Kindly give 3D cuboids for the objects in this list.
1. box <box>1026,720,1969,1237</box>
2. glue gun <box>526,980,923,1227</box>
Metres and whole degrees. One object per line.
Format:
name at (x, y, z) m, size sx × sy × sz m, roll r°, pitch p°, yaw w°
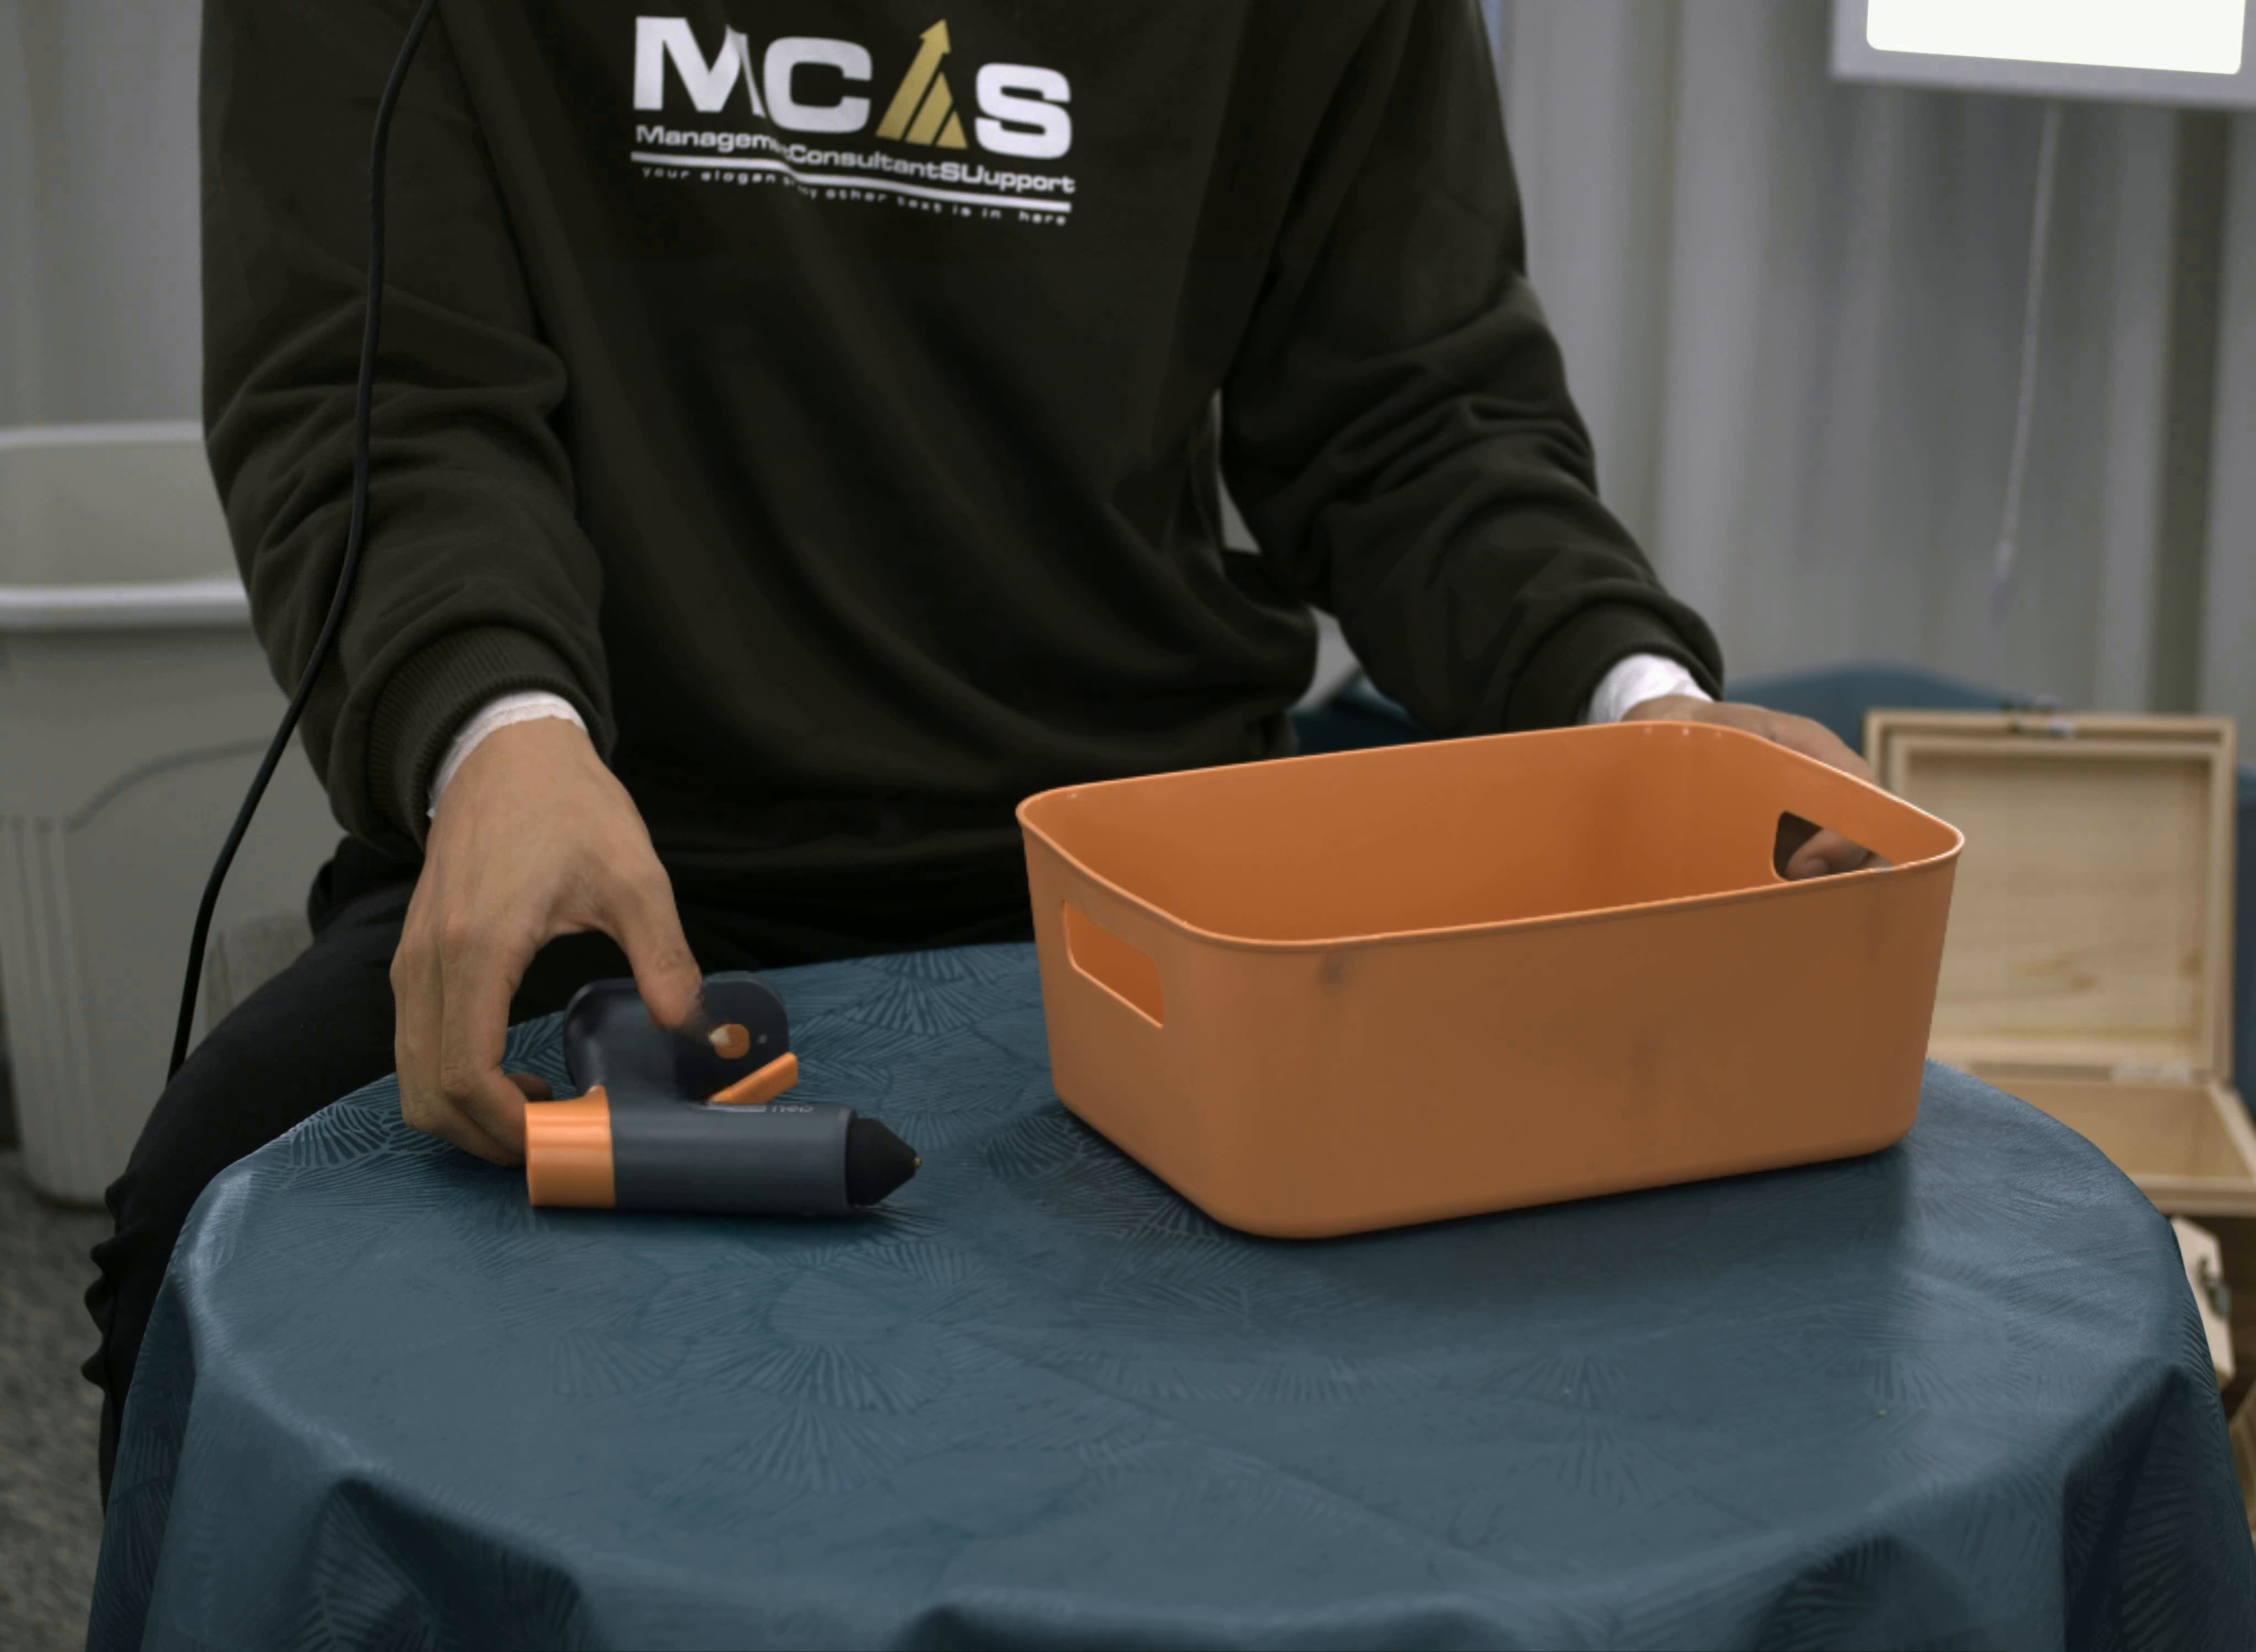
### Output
box at (0.114, 0.046, 1.679) m, size 0.274 × 0.103 × 0.197 m, roll -7°, pitch 17°, yaw -24°
glue gun at (-0.131, 0.090, 1.647) m, size 0.118 × 0.041 × 0.138 m, roll 0°, pitch 18°, yaw -11°
